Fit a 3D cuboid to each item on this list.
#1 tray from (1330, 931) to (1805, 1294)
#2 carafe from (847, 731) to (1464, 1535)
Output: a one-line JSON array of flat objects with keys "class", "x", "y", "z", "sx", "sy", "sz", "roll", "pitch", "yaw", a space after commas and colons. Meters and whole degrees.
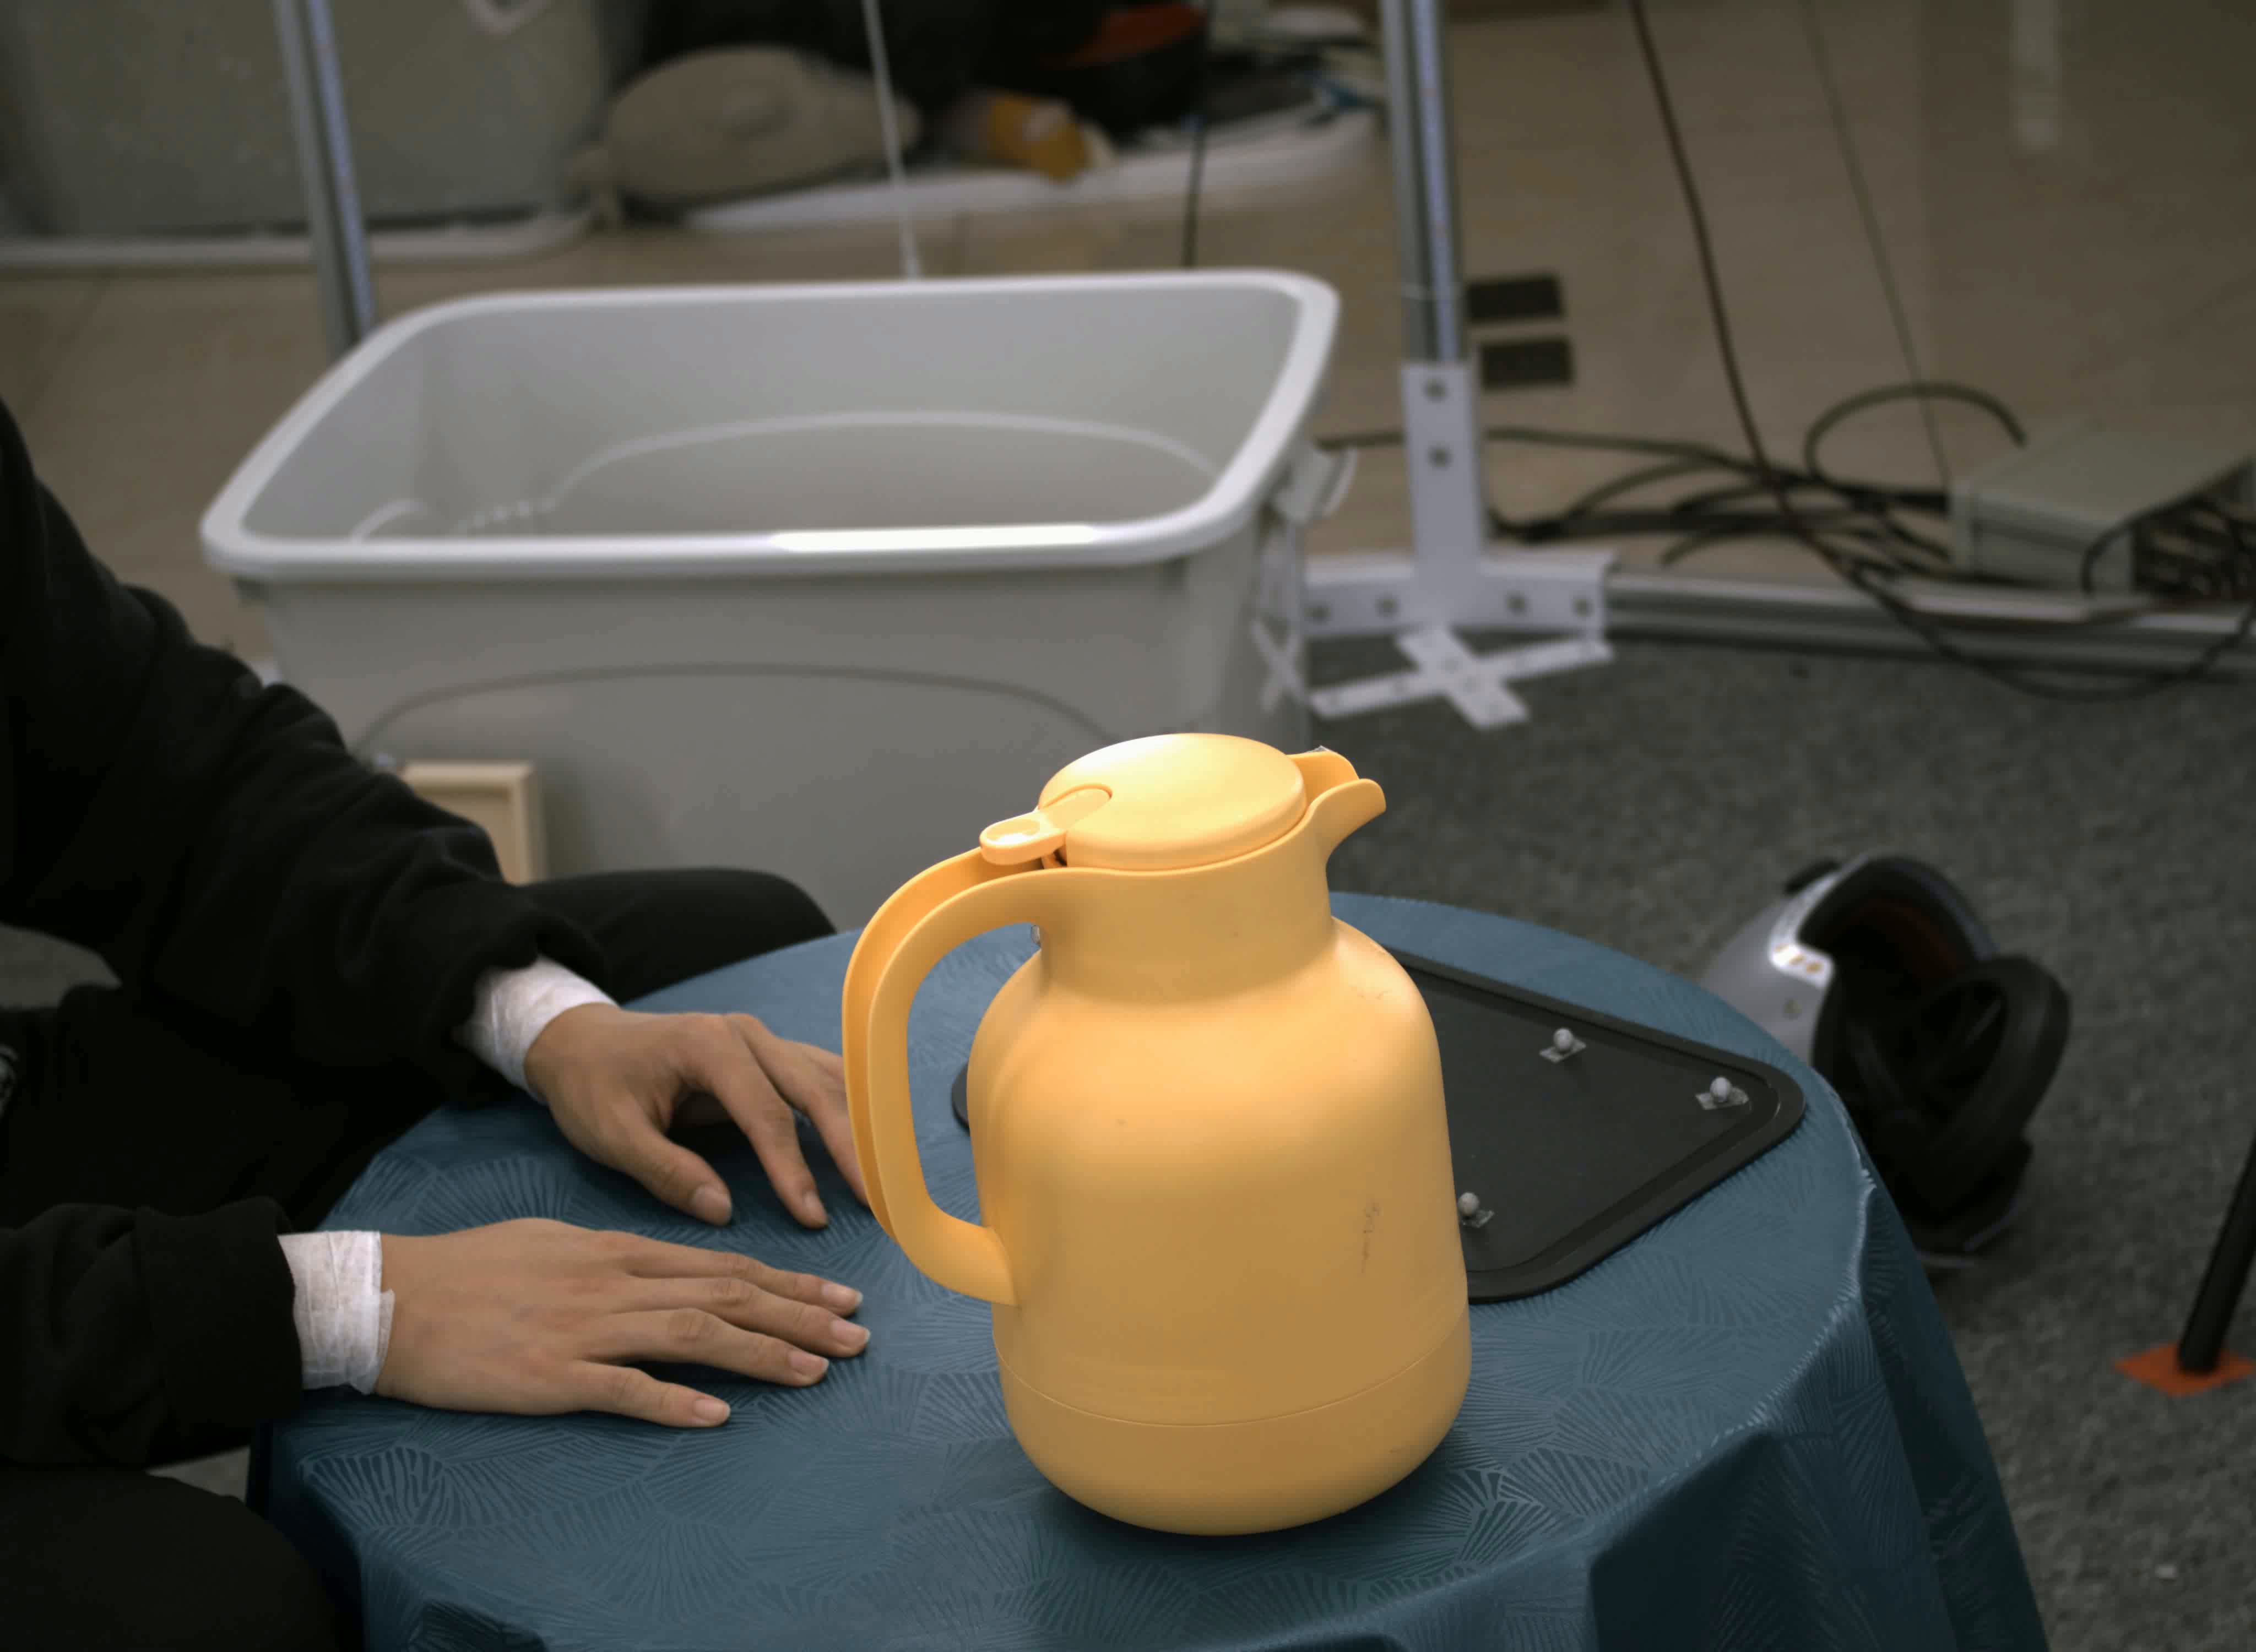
[{"class": "tray", "x": 0.087, "y": 0.103, "z": 2.197, "sx": 0.323, "sy": 0.010, "sz": 0.209, "roll": 17, "pitch": 34, "yaw": 41}, {"class": "carafe", "x": 0.008, "y": 0.103, "z": 1.911, "sx": 0.202, "sy": 0.264, "sz": 0.161, "roll": -13, "pitch": 24, "yaw": -16}]
